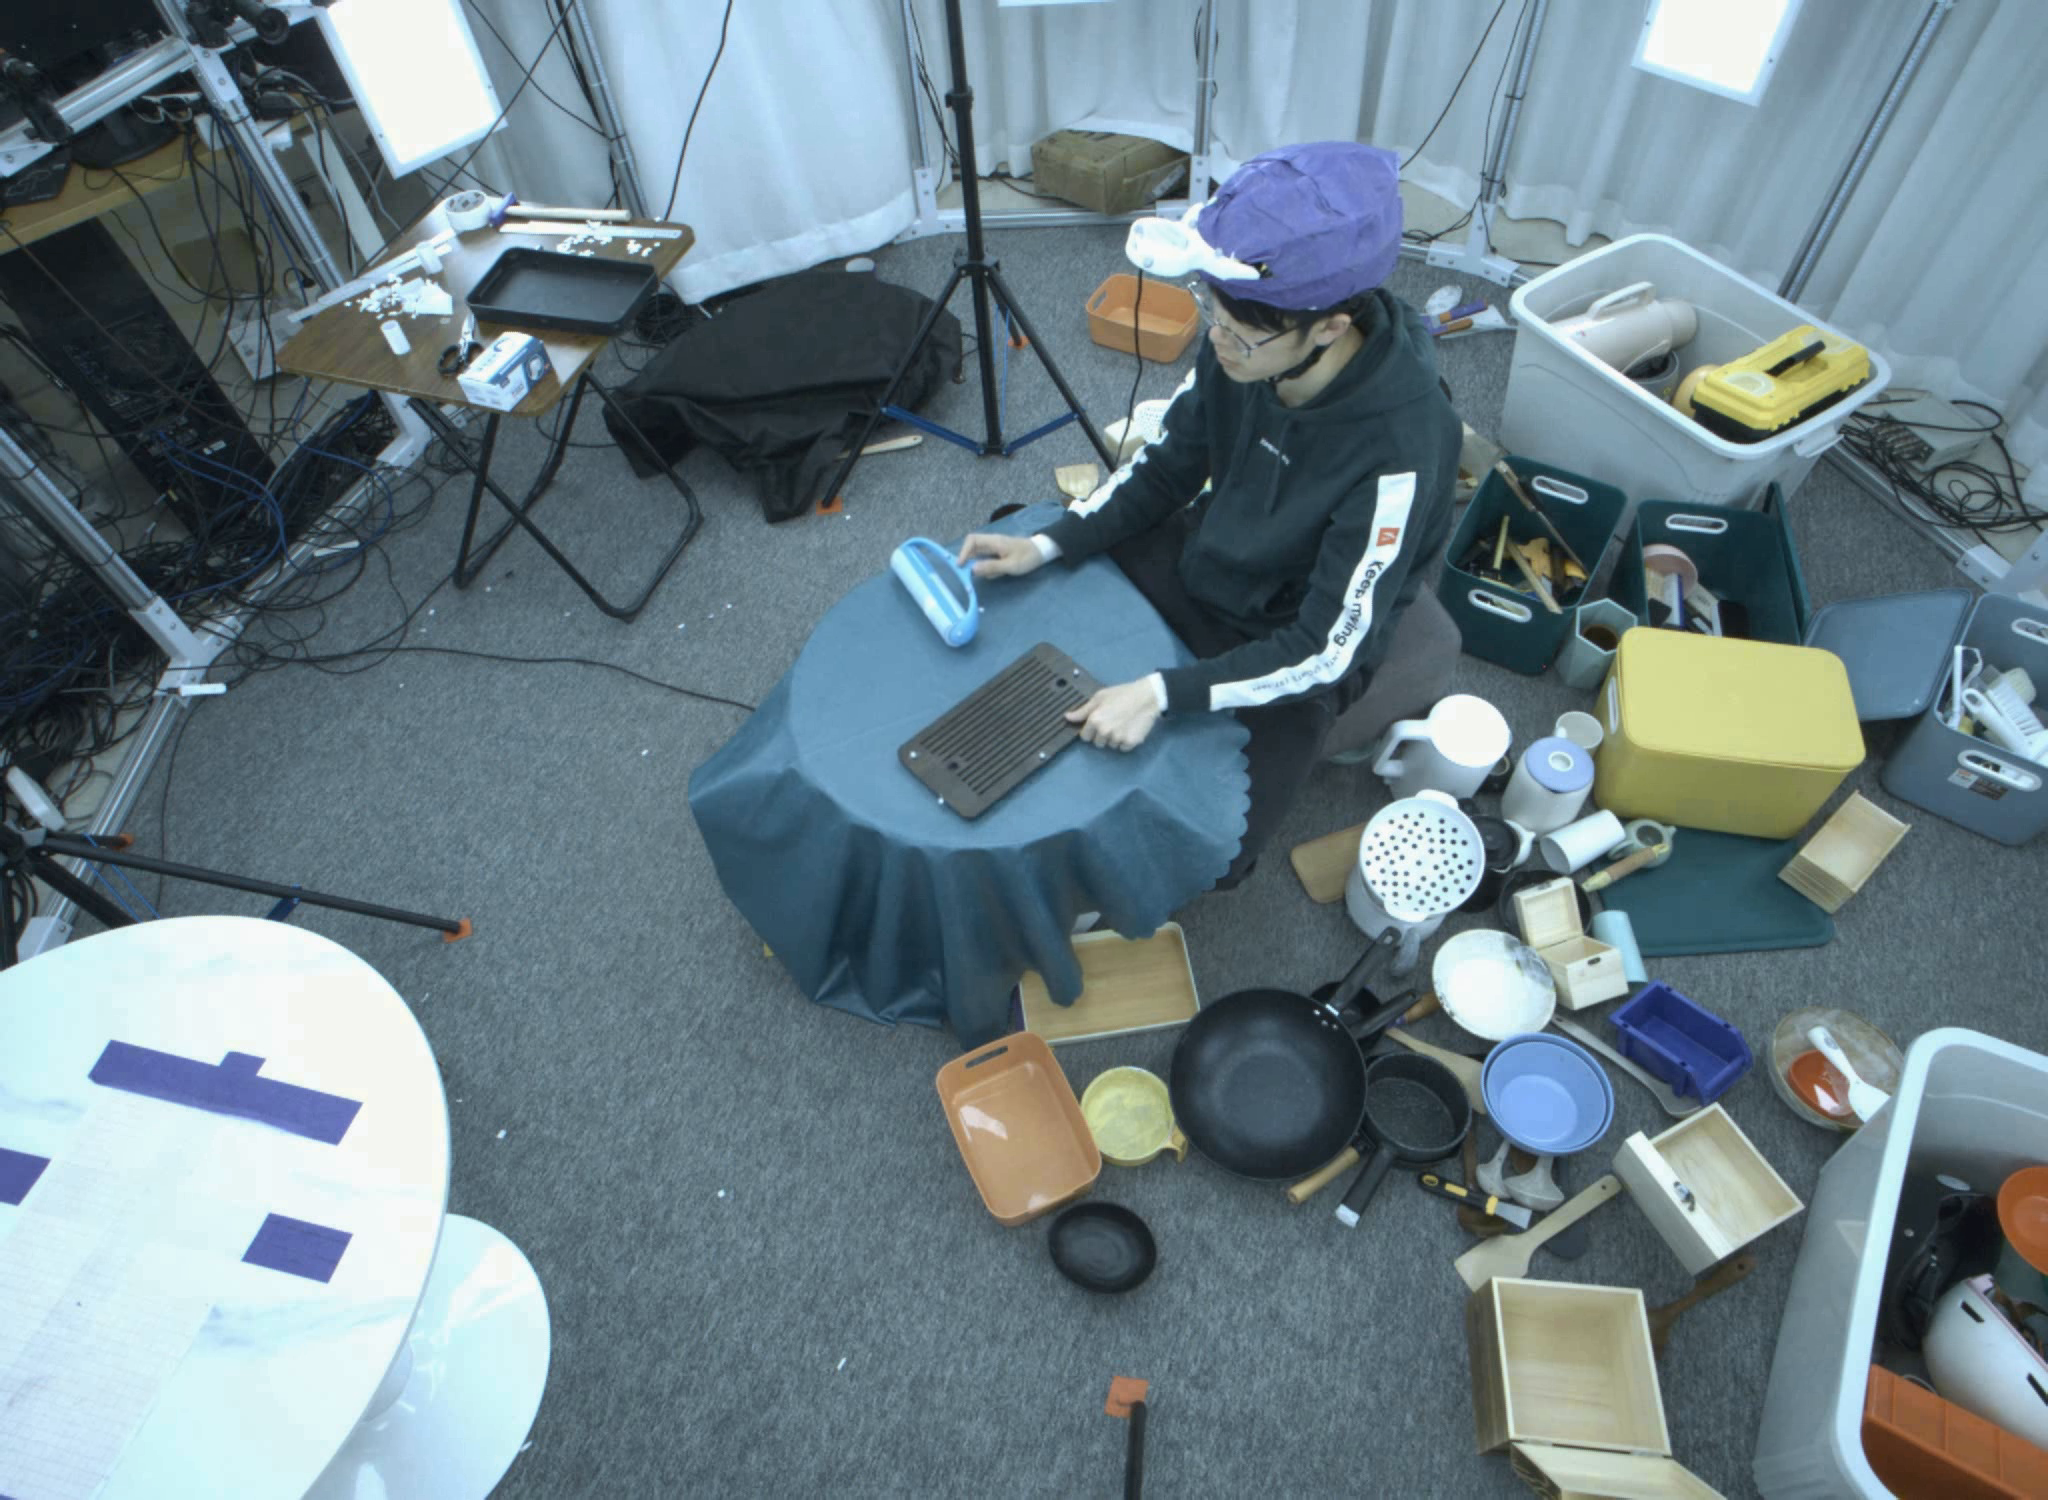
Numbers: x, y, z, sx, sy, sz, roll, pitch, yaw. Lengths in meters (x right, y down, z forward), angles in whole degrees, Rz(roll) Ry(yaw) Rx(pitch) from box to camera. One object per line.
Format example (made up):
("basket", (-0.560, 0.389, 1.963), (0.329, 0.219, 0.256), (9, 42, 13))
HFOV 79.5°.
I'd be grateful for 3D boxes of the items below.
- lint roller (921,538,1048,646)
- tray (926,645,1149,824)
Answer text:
("lint roller", (-0.046, -0.272, 1.941), (0.181, 0.069, 0.224), (-28, 56, -15))
("tray", (0.021, -0.027, 1.790), (0.308, 0.019, 0.167), (-37, 61, -22))
